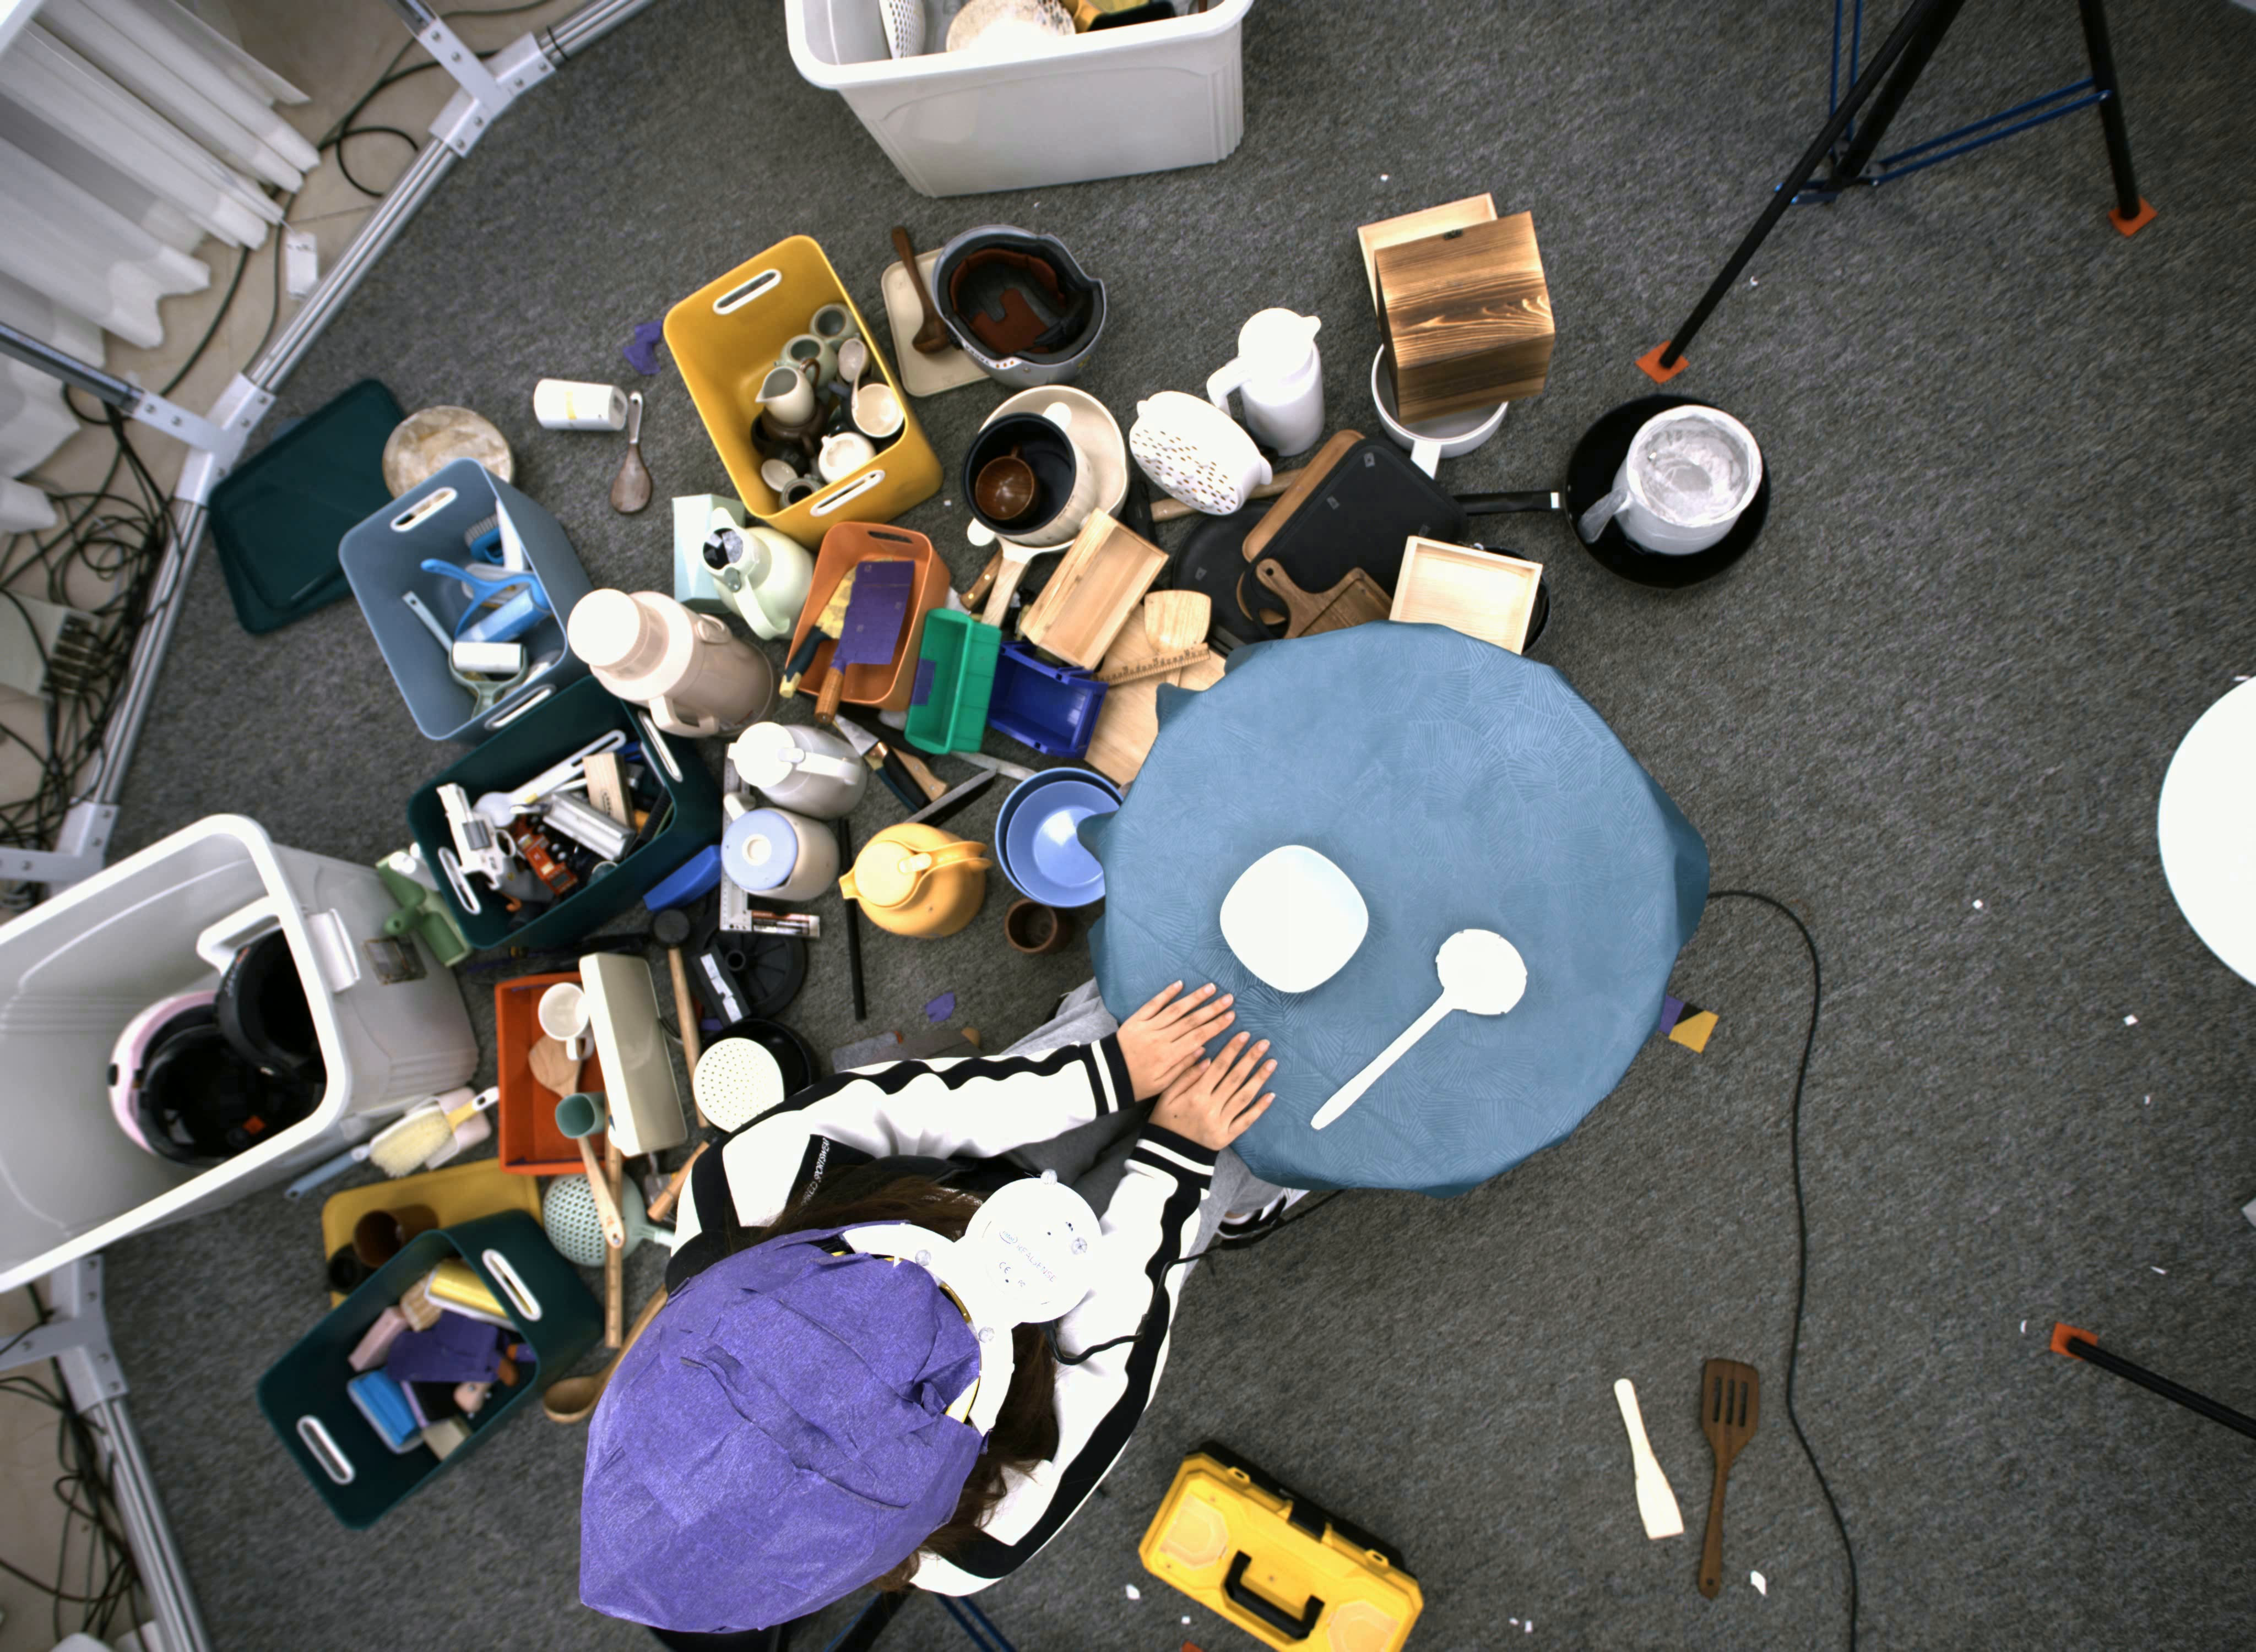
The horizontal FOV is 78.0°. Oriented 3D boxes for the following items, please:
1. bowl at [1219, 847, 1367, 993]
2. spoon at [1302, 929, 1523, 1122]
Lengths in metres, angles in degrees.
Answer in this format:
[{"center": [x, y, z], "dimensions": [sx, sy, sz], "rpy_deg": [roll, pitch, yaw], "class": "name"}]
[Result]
[{"center": [0.174, 0.099, 1.451], "dimensions": [0.152, 0.059, 0.150], "rpy_deg": [-1, 86, 10], "class": "bowl"}, {"center": [0.282, 0.210, 1.422], "dimensions": [0.279, 0.059, 0.100], "rpy_deg": [-40, 75, 6], "class": "spoon"}]
